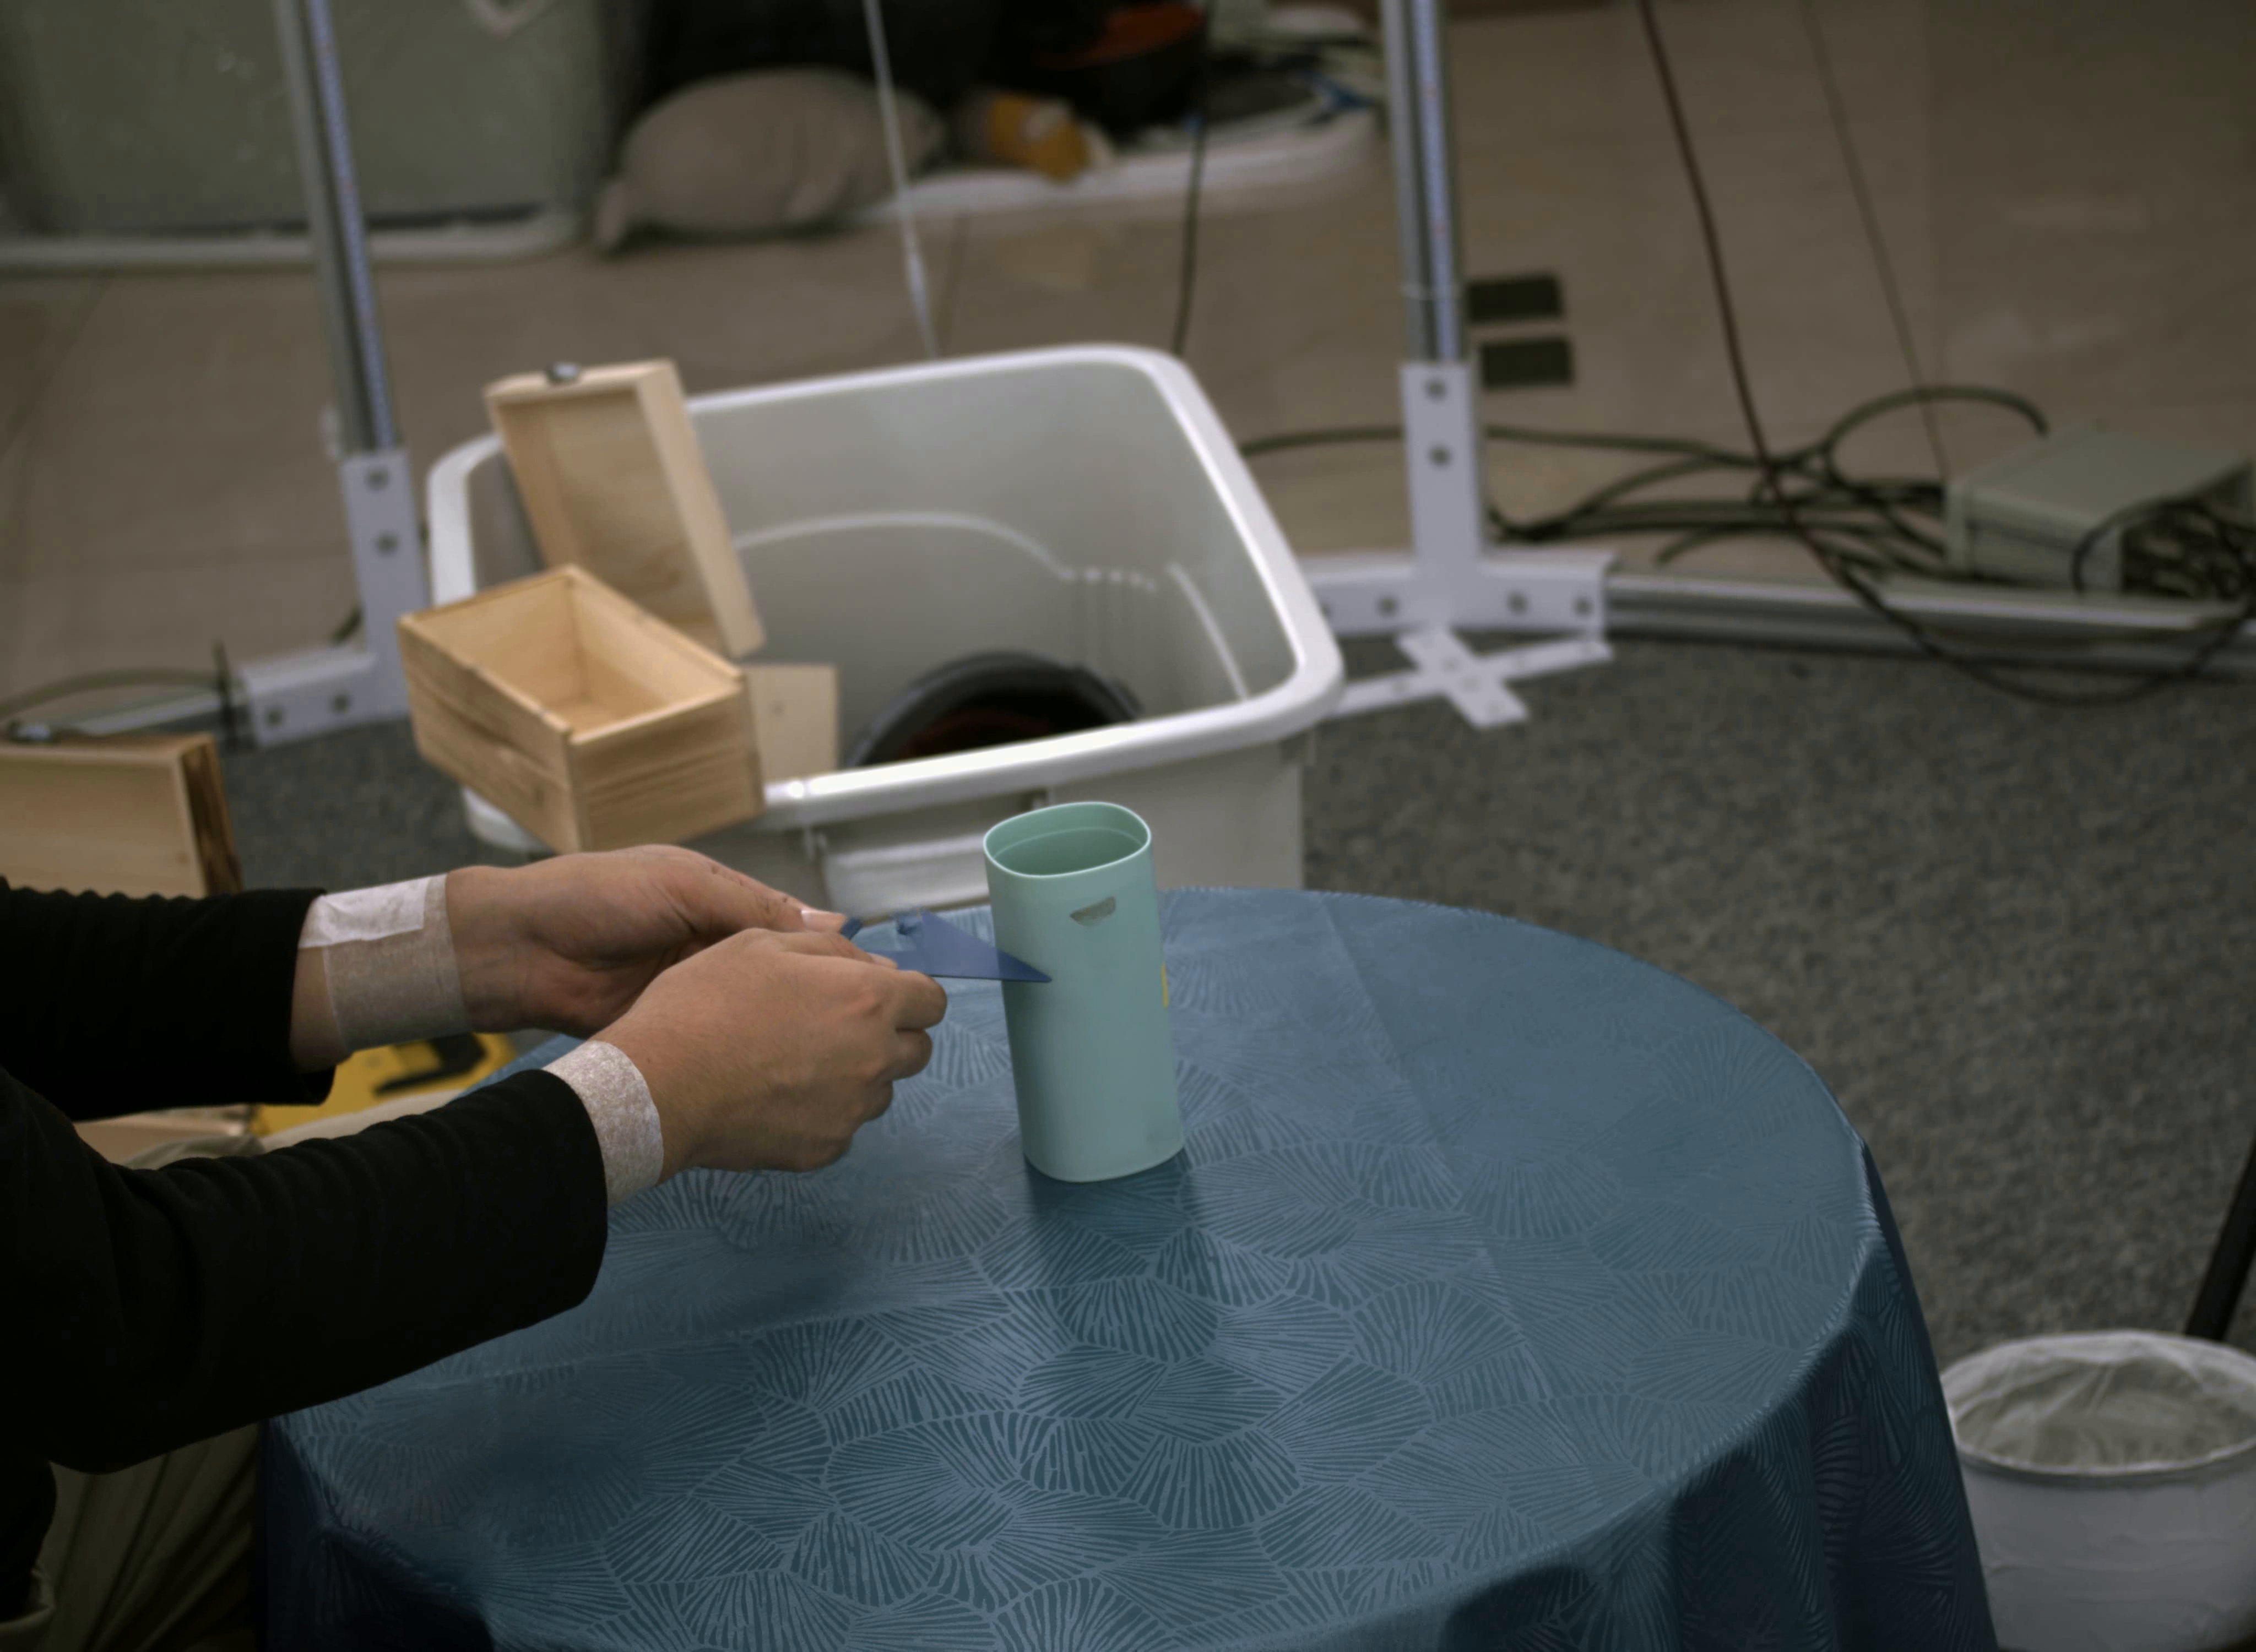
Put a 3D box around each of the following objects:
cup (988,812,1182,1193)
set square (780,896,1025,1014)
[{"bbox_3d":[-0.017,0.067,2.158,0.066,0.134,0.066,-5,26,2],"label":"cup"},{"bbox_3d":[-0.090,0.055,2.136,0.061,0.006,0.130,-21,27,-21],"label":"set square"}]
